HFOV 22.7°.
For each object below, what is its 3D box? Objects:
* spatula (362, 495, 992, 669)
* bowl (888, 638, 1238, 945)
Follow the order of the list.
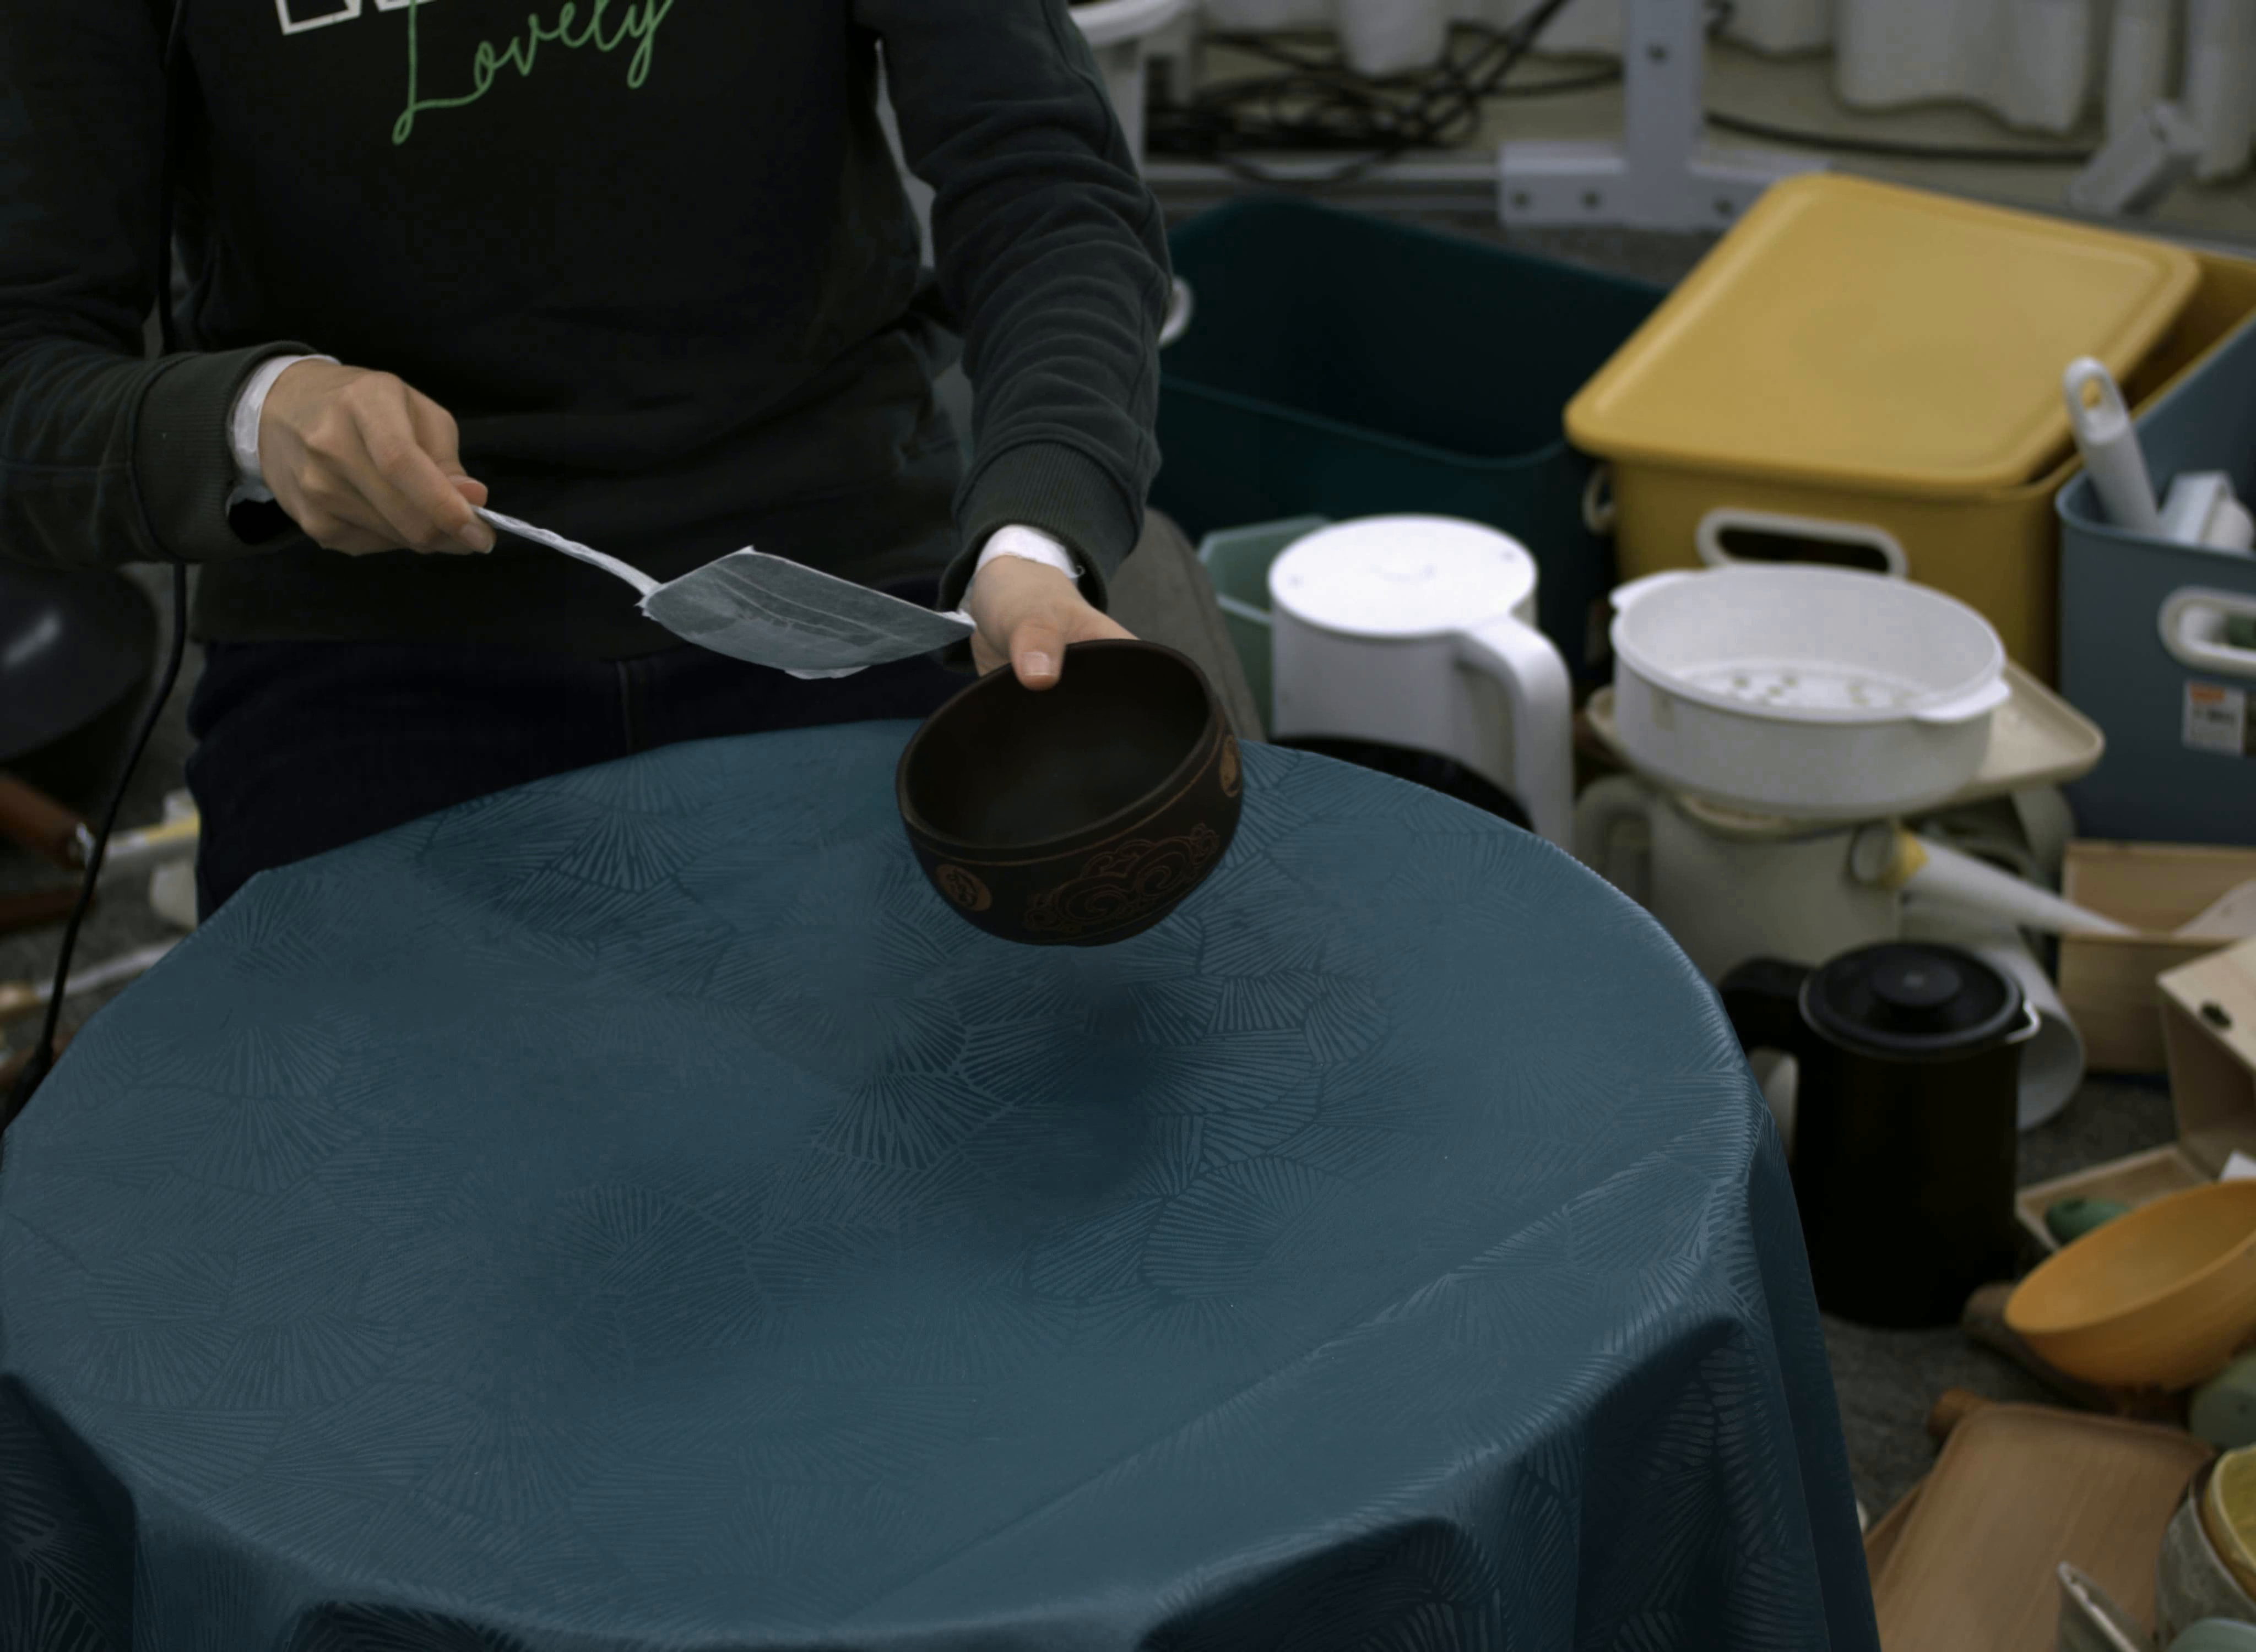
[{"bbox_3d":[-0.179,-0.096,1.948,0.098,0.045,0.364,18,2,-37],"label":"spatula"},{"bbox_3d":[-0.017,-0.003,1.919,0.117,0.069,0.120,-13,33,9],"label":"bowl"}]
